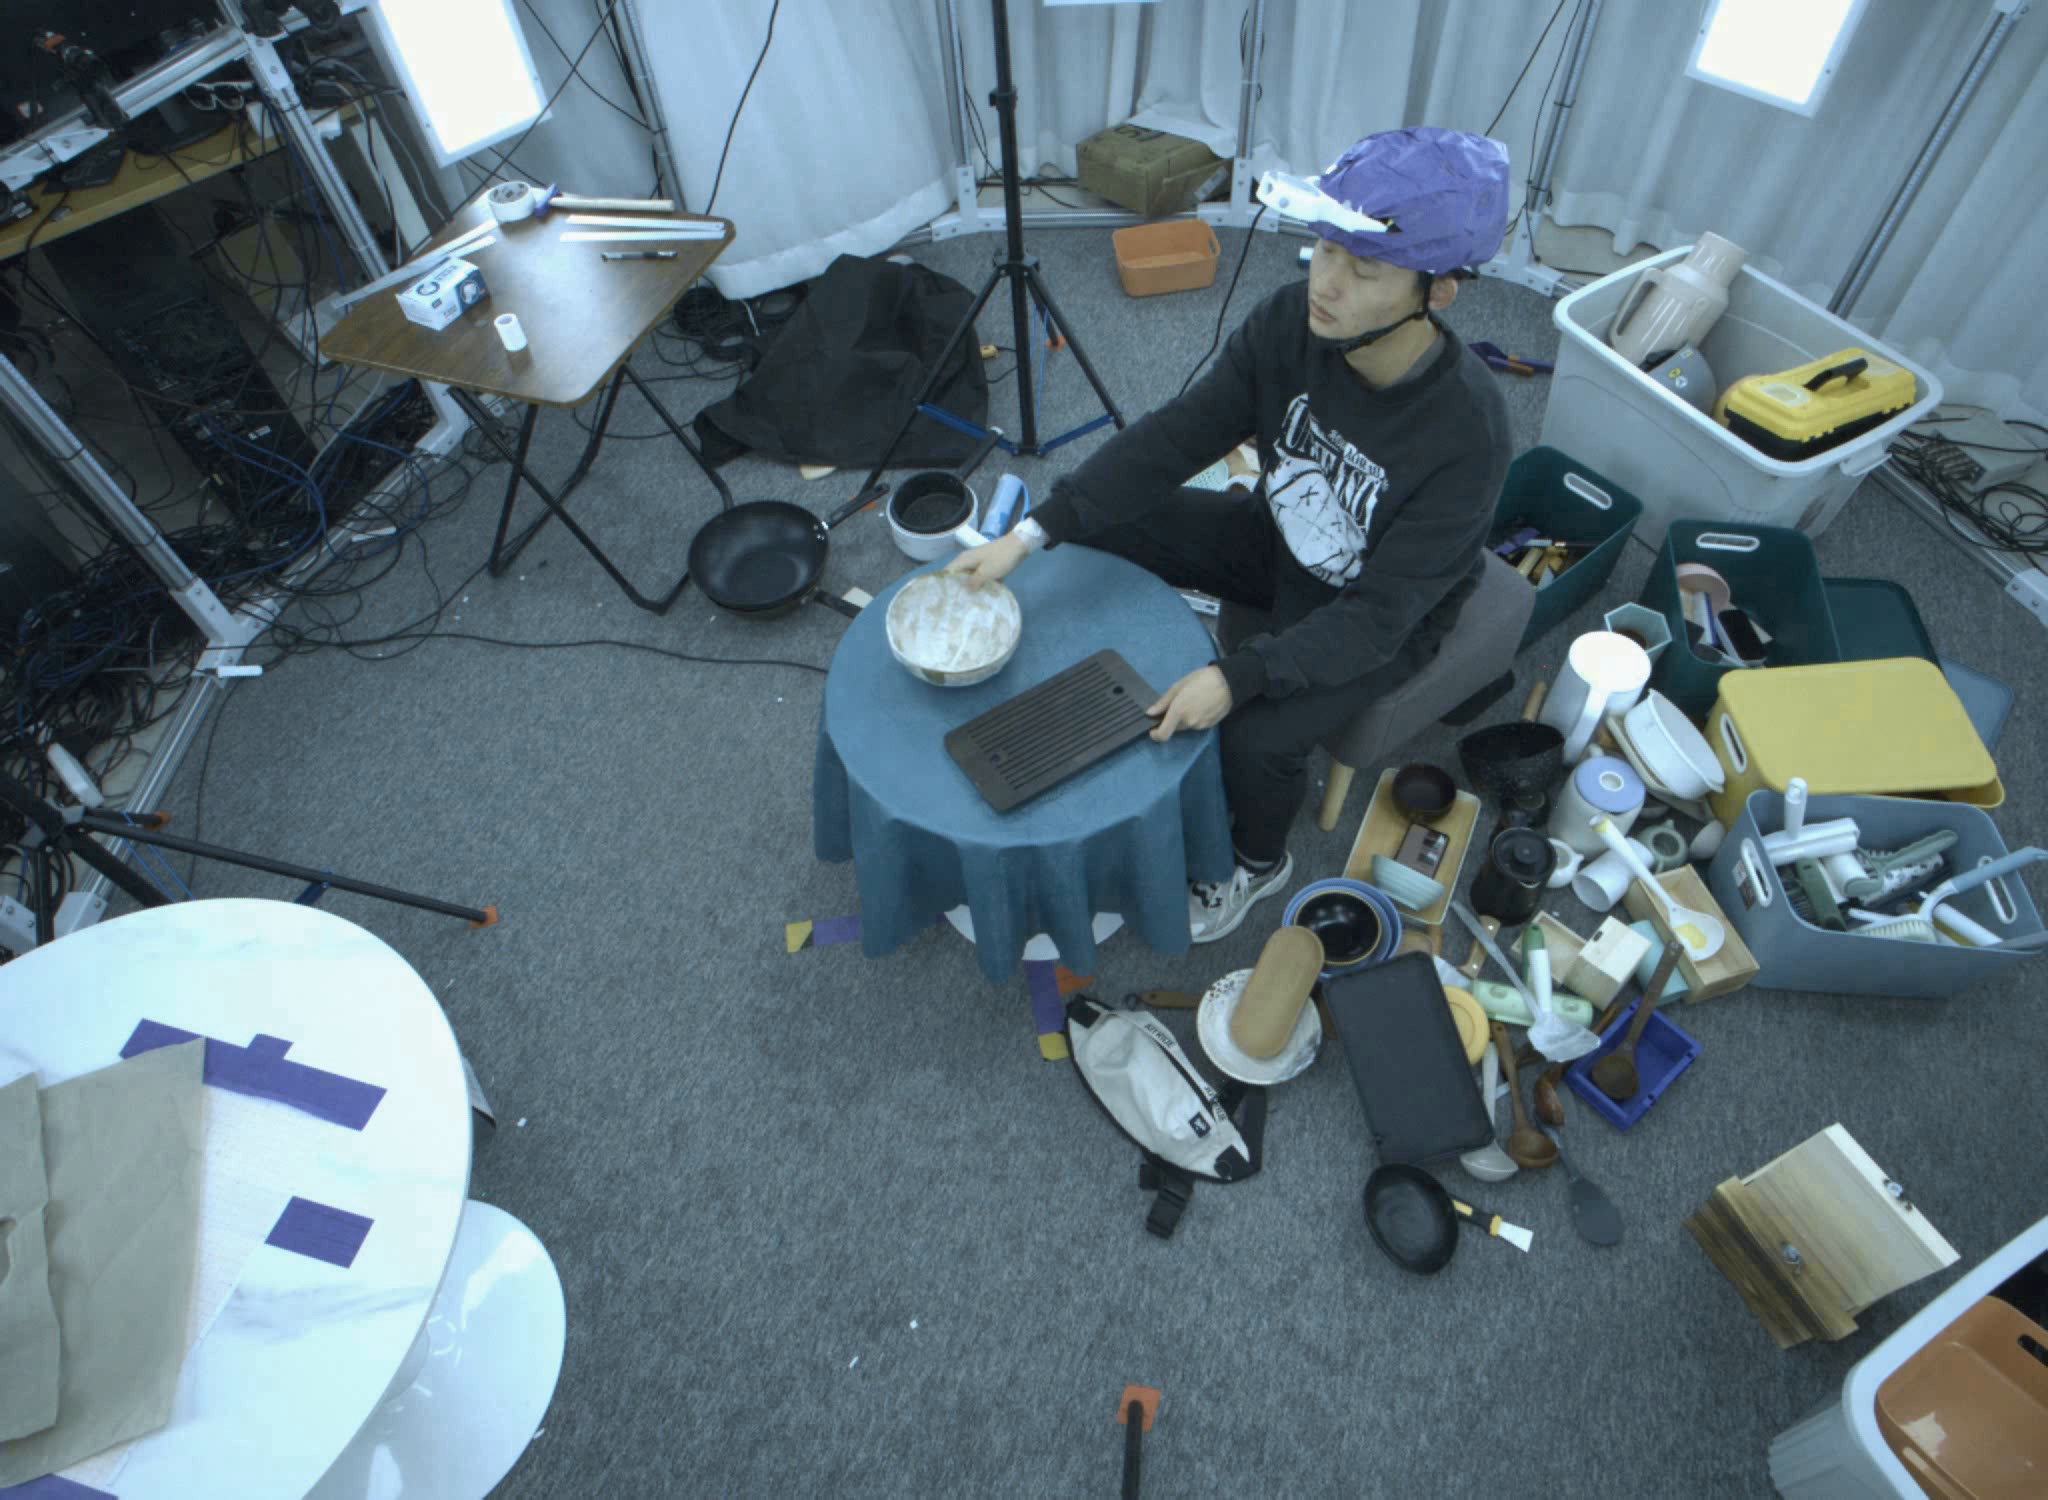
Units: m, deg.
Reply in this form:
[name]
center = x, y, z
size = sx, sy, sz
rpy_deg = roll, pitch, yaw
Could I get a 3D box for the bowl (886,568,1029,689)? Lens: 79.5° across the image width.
[bowl]
center = -0.099, -0.165, 1.854
size = 0.215, 0.095, 0.212
rpy_deg = 2, 57, -1

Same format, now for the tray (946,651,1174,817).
[tray]
center = 0.053, -0.026, 1.799
size = 0.308, 0.019, 0.167
rpy_deg = -29, 56, -18
